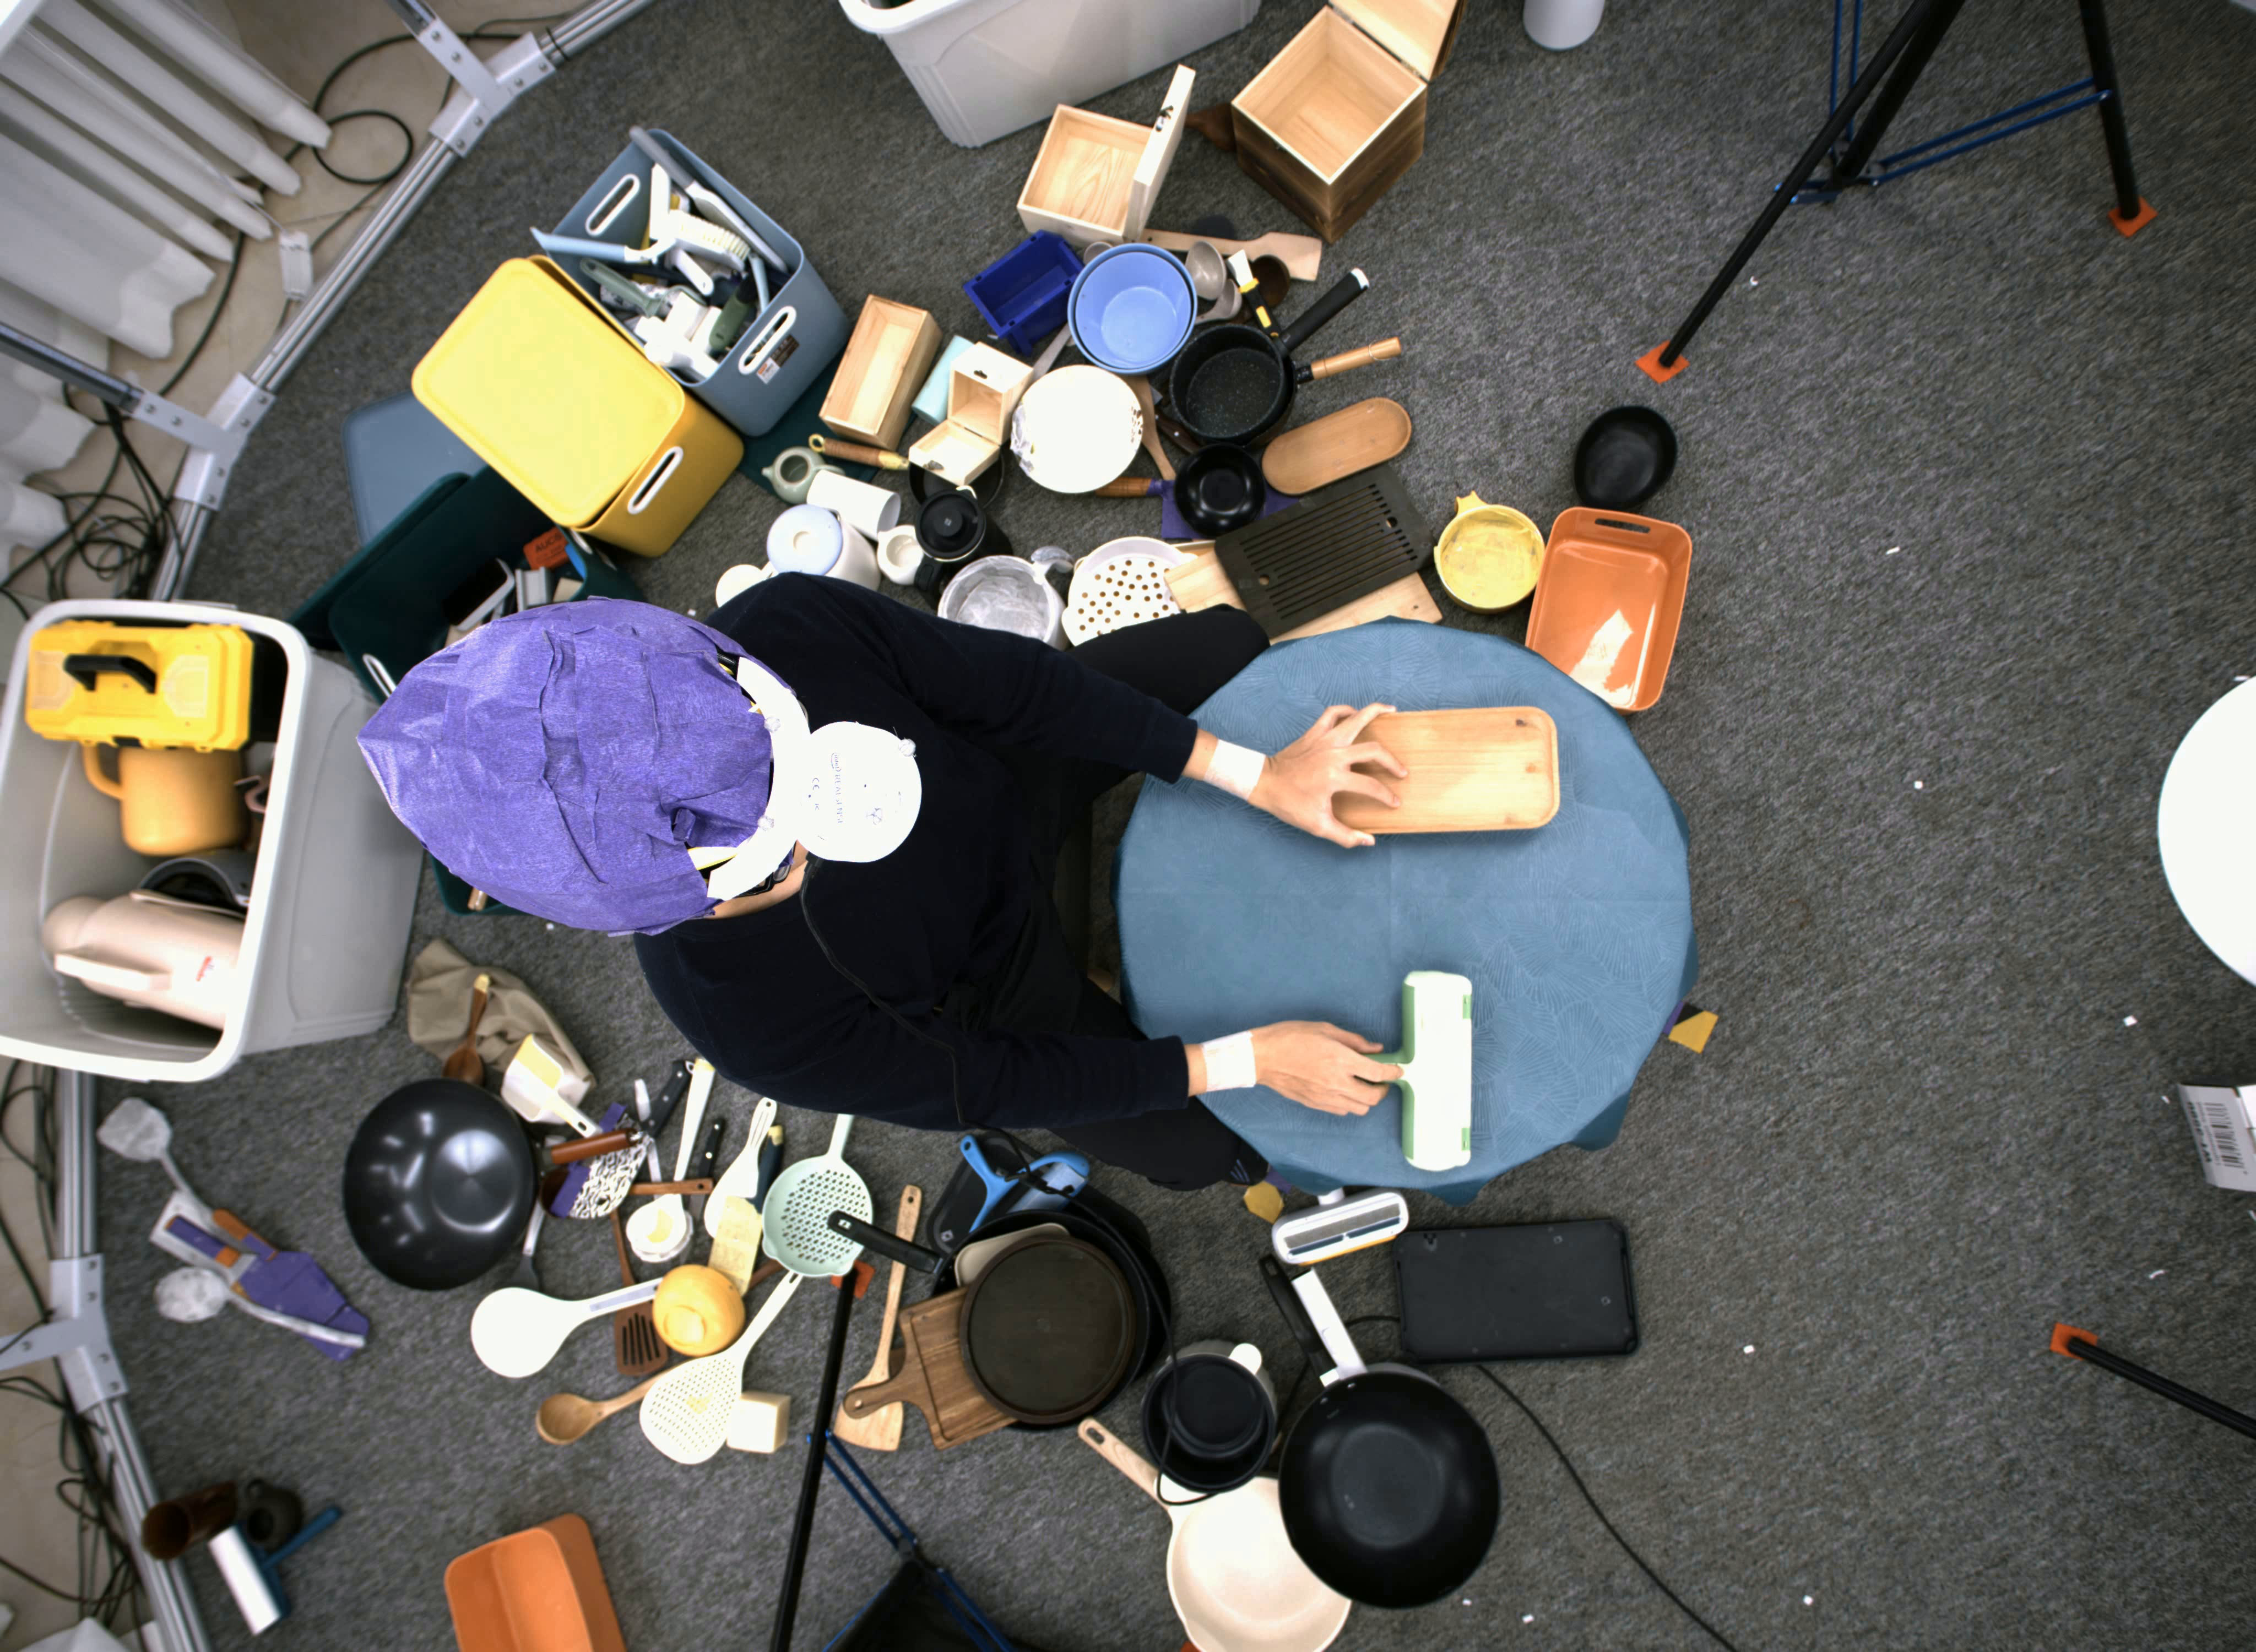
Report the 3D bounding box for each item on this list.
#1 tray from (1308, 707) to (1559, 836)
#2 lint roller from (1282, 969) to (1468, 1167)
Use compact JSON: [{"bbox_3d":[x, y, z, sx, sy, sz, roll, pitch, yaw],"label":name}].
[{"bbox_3d":[0.310,-0.056,1.408,0.252,0.023,0.129,-1,80,16],"label":"tray"},{"bbox_3d":[0.250,0.246,1.389,0.183,0.081,0.200,-3,99,0],"label":"lint roller"}]
